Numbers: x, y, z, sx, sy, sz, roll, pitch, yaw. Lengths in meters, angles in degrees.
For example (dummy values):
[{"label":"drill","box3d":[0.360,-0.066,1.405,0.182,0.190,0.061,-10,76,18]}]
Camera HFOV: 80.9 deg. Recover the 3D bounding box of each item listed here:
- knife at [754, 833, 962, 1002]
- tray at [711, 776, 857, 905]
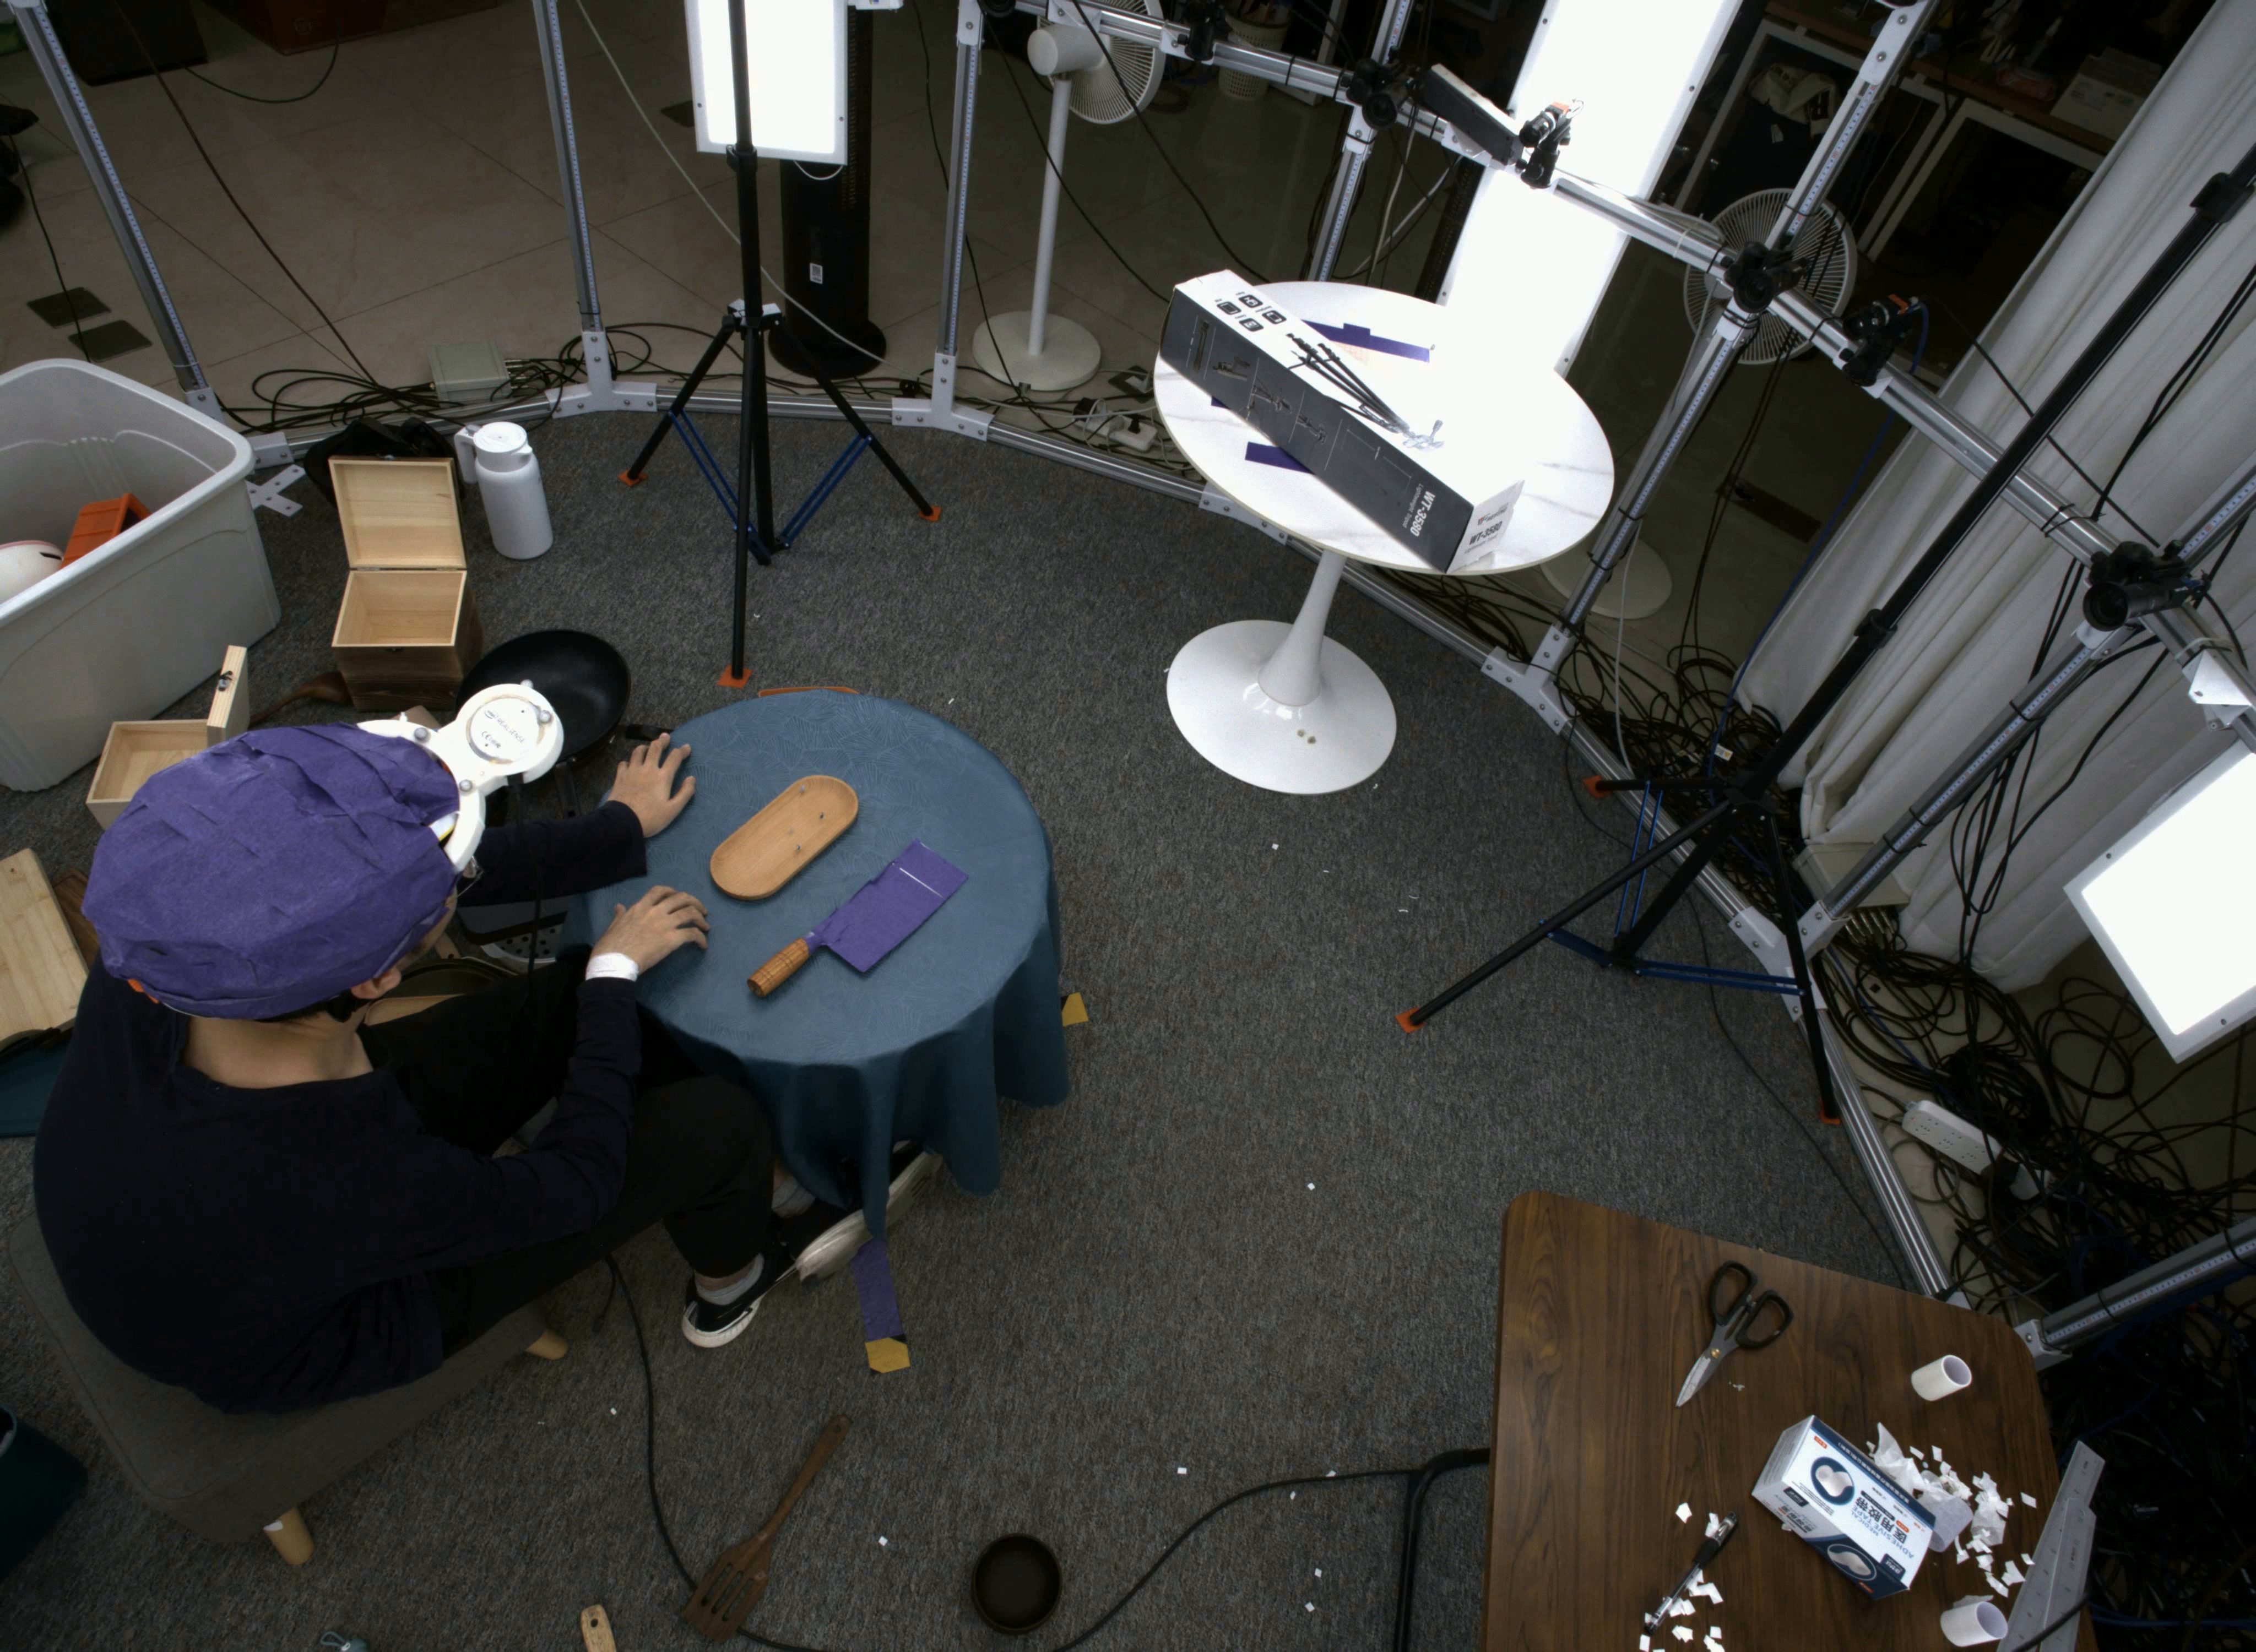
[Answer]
[{"label":"knife","box3d":[-0.333,0.124,1.649,0.102,0.033,0.315,34,53,12]},{"label":"tray","box3d":[-0.451,0.016,1.706,0.100,0.021,0.230,32,55,11]}]
